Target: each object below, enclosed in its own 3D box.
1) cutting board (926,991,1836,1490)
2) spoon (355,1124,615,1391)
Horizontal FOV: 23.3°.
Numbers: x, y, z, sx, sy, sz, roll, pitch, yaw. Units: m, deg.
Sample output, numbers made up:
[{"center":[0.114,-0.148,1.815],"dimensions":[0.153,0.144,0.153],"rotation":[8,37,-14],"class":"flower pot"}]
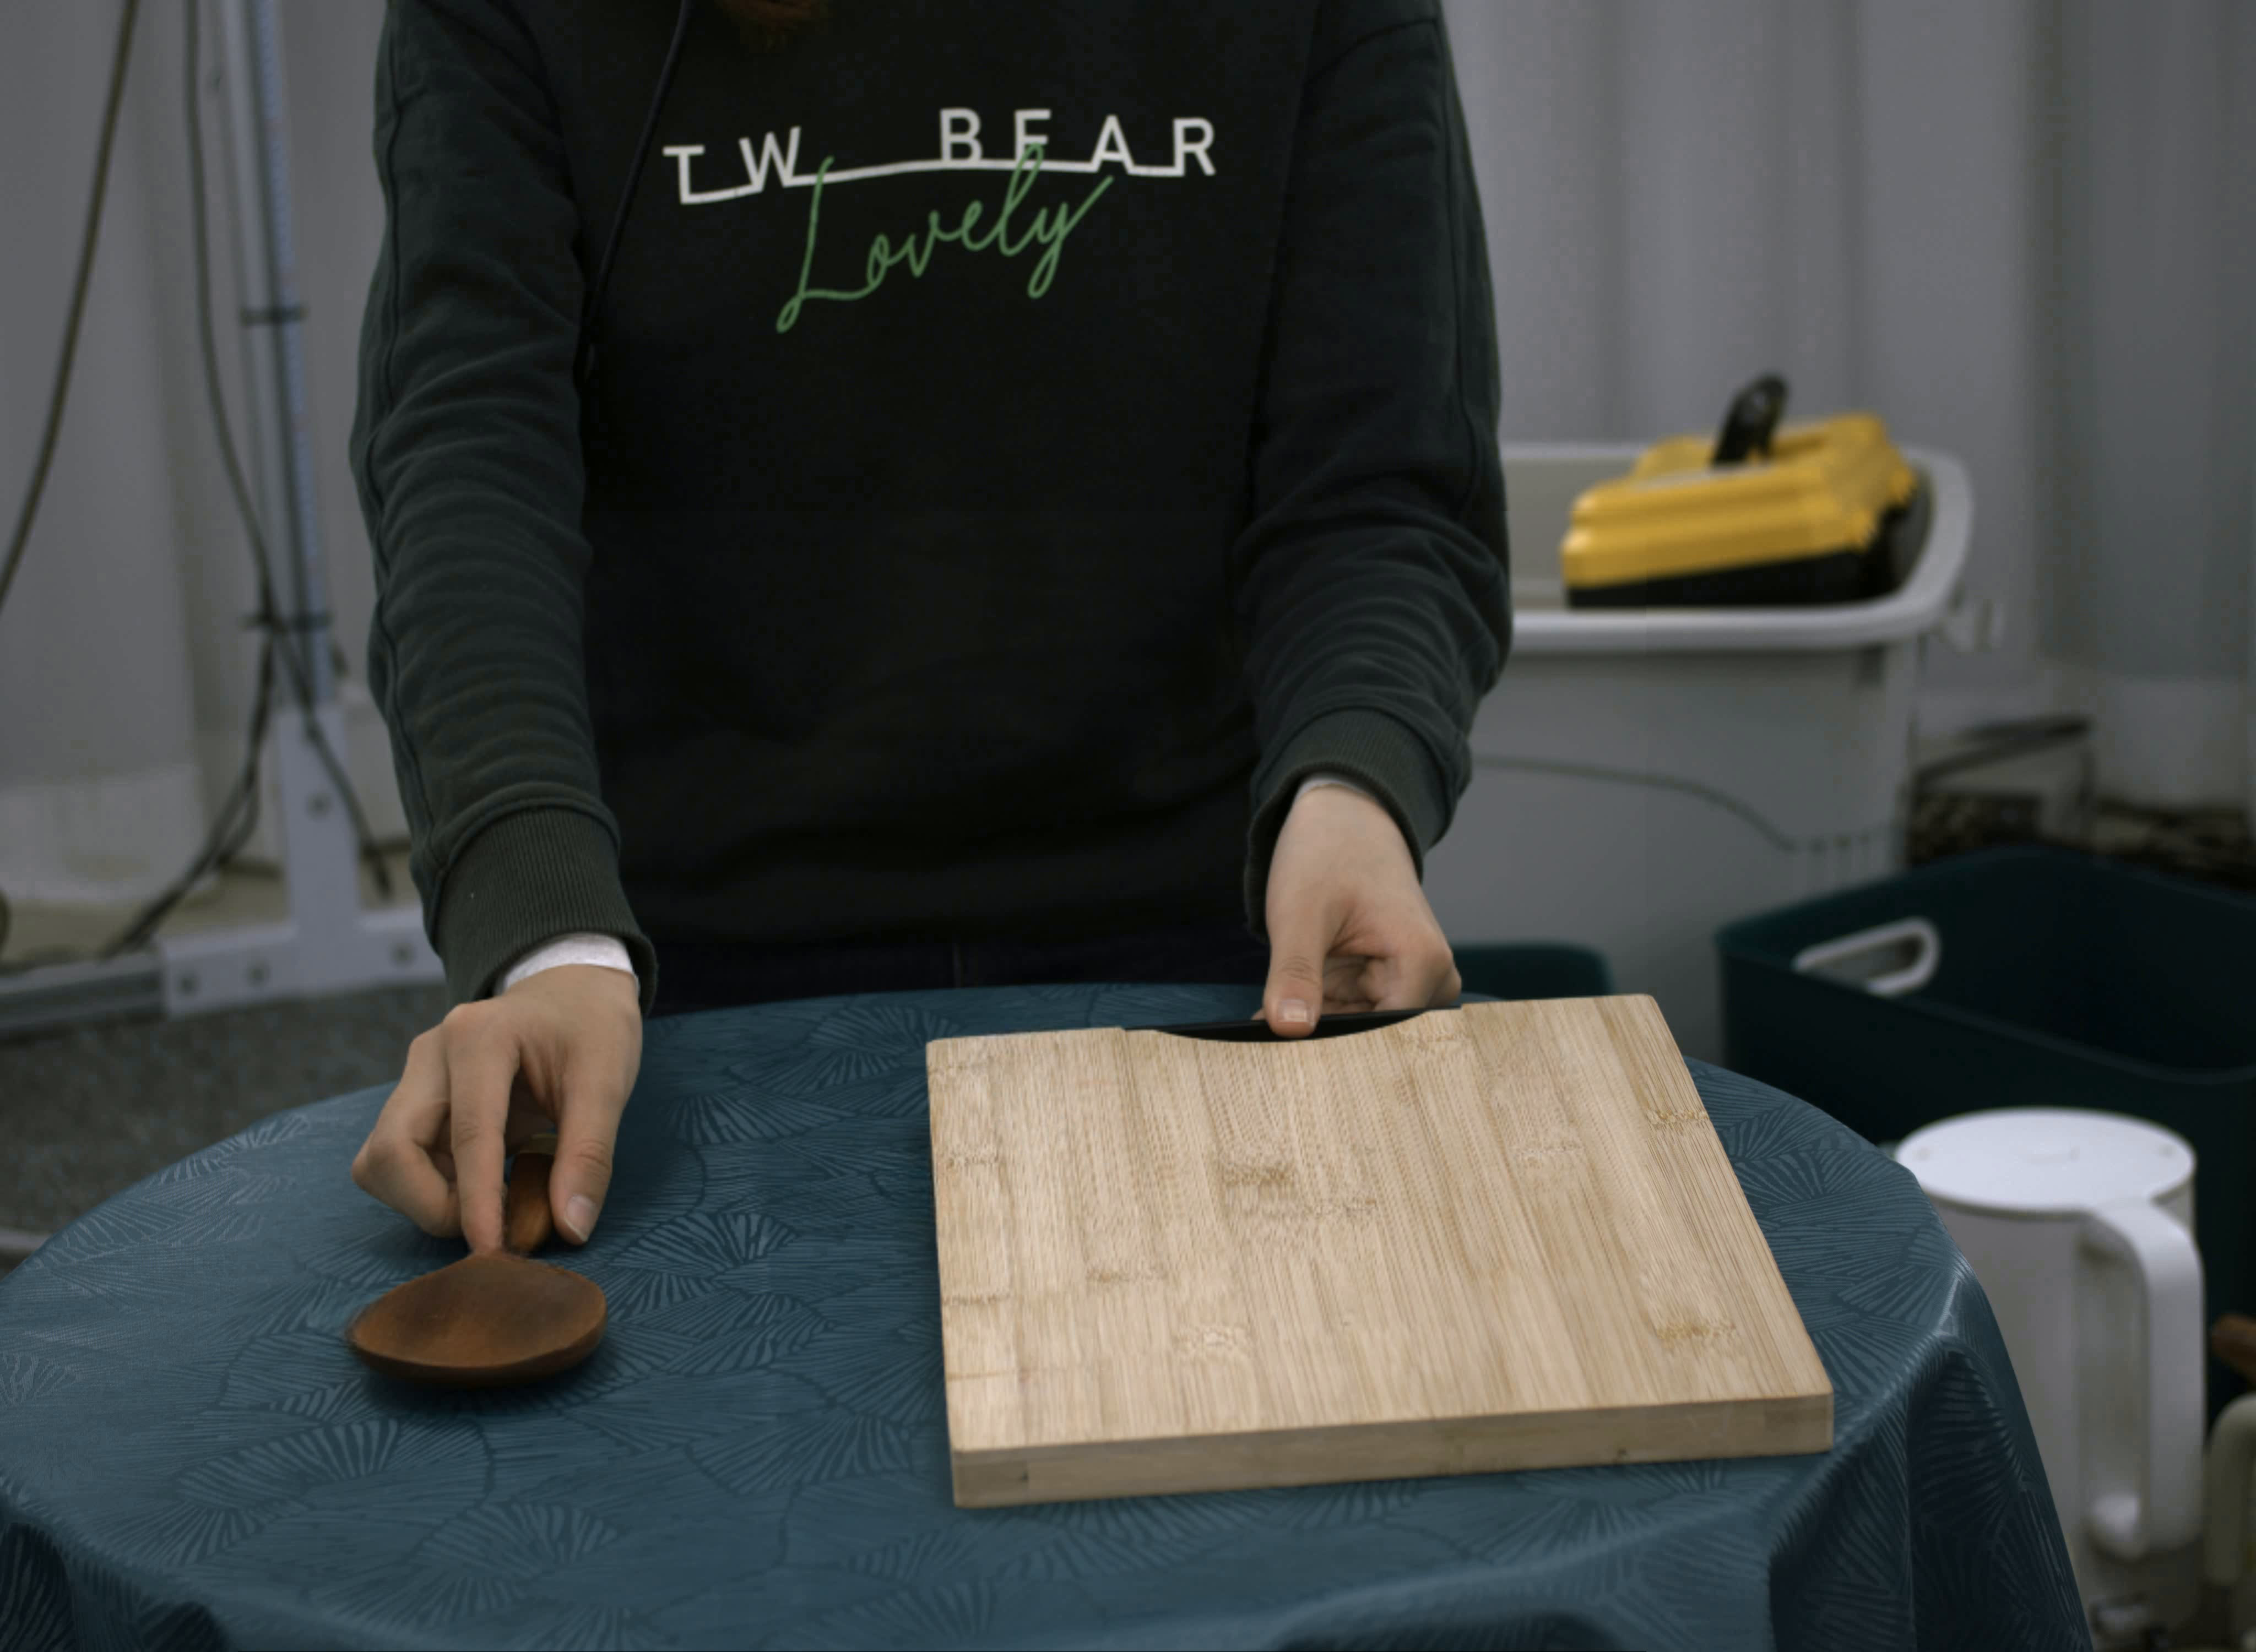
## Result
[{"center":[0.063,0.119,1.636],"dimensions":[0.250,0.023,0.351],"rotation":[-3,17,-3],"class":"cutting board"},{"center":[-0.185,0.131,1.652],"dimensions":[0.075,0.017,0.217],"rotation":[-4,15,3],"class":"spoon"}]
